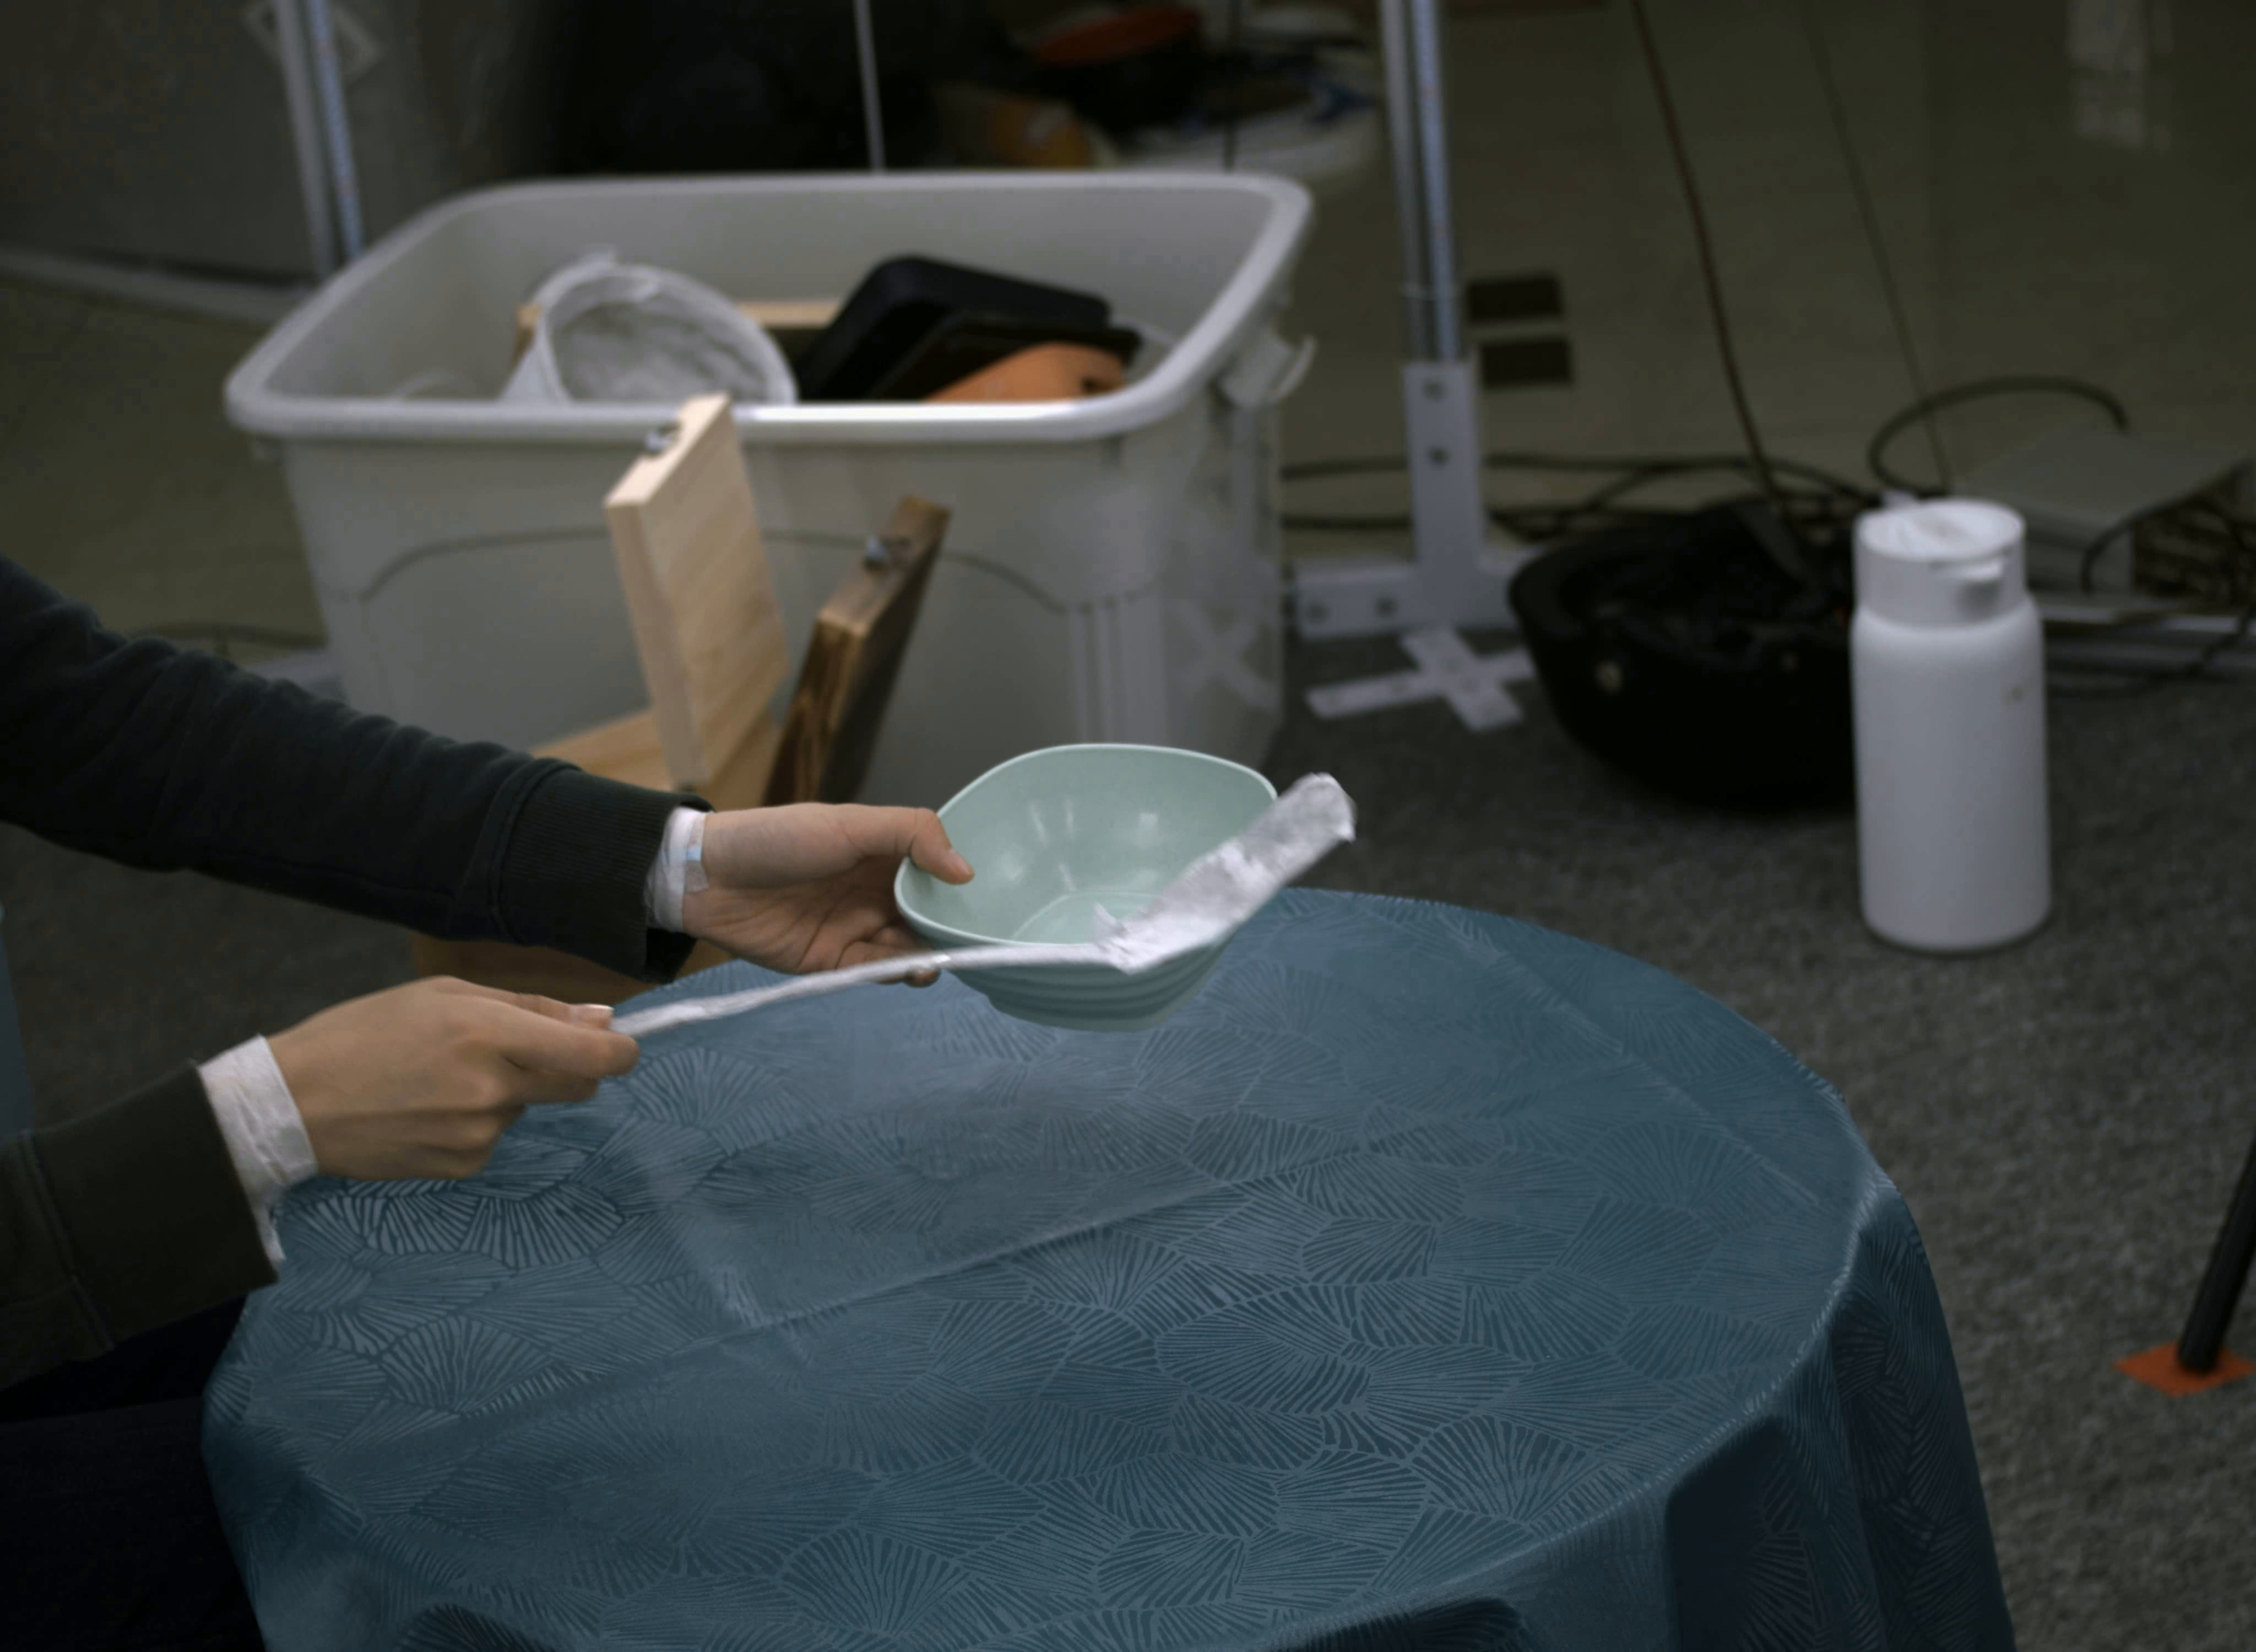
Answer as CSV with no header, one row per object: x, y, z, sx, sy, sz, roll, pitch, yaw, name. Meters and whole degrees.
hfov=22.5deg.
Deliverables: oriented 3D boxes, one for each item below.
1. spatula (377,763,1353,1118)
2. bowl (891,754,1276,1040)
-0.095,0.046,1.987,0.364,0.045,0.097,-12,17,3,spatula
-0.013,0.033,2.151,0.151,0.060,0.149,-6,31,4,bowl
